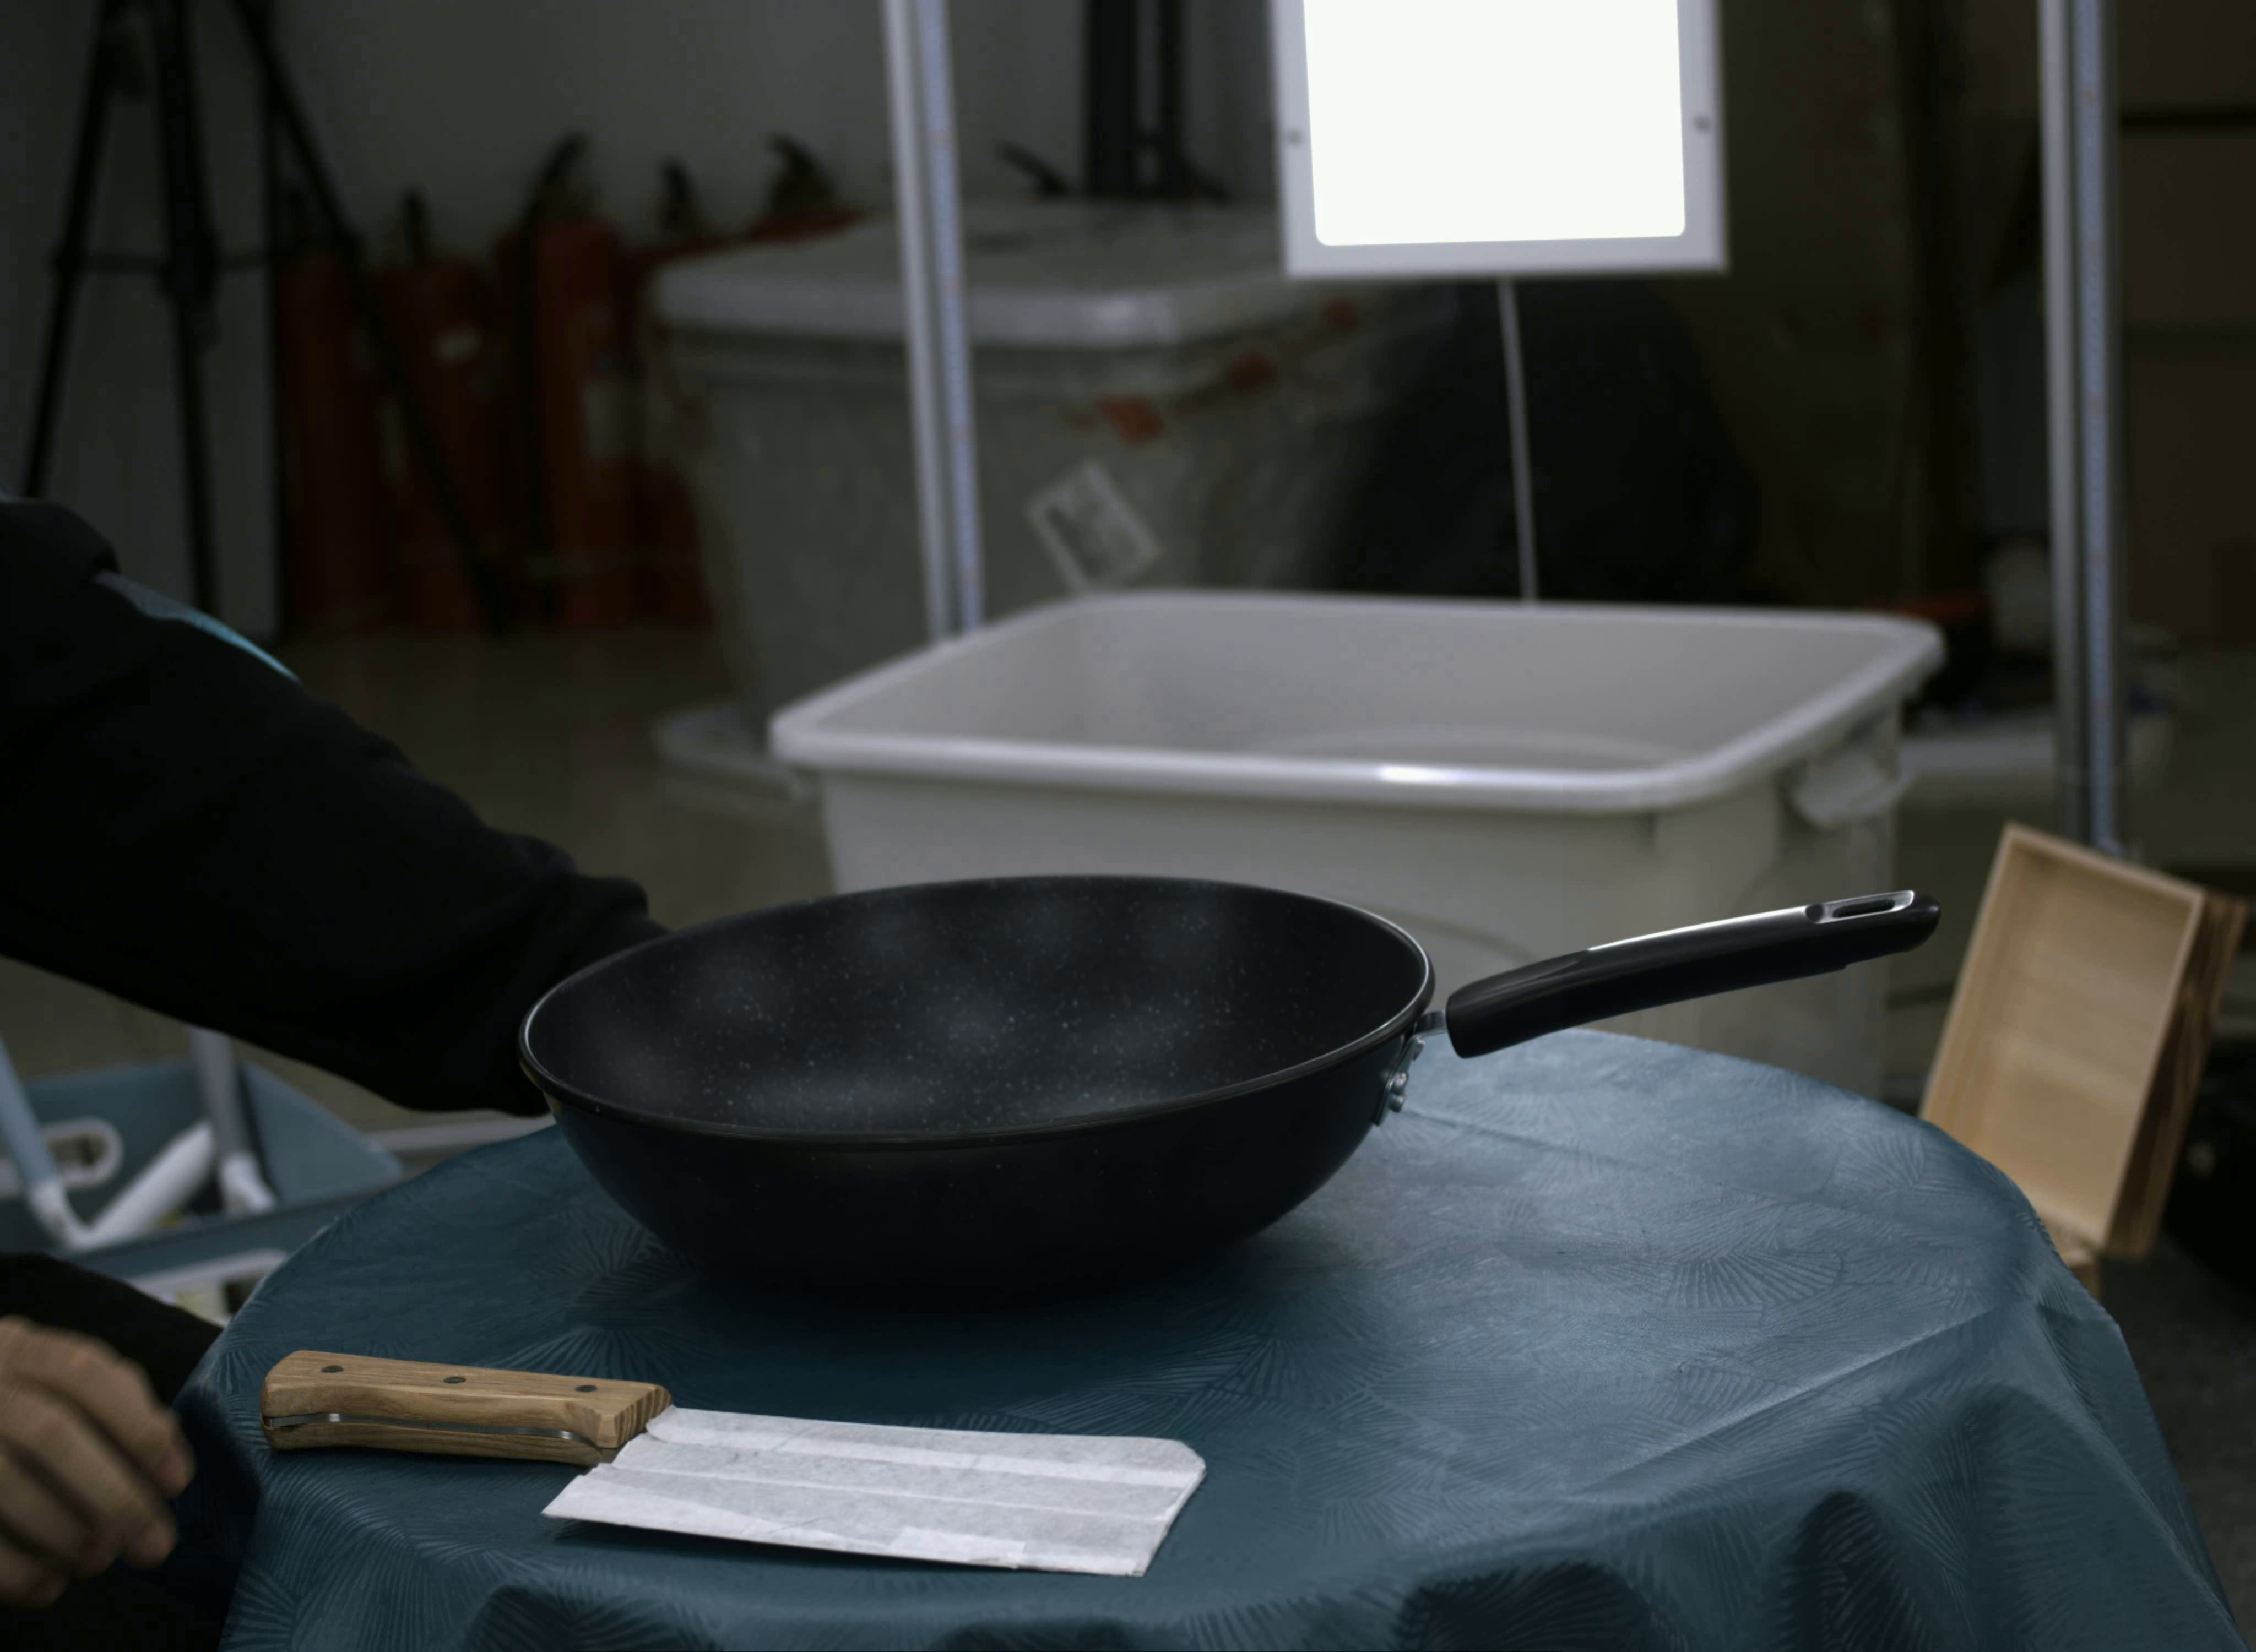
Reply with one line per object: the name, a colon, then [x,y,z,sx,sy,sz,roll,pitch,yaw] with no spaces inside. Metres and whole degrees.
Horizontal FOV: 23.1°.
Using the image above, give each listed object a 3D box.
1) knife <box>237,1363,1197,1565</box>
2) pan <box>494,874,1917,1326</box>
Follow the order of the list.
knife: [-0.126,0.189,1.651,0.320,0.022,0.112,4,16,24]
pan: [0.026,0.086,1.832,0.481,0.112,0.306,-2,16,14]
